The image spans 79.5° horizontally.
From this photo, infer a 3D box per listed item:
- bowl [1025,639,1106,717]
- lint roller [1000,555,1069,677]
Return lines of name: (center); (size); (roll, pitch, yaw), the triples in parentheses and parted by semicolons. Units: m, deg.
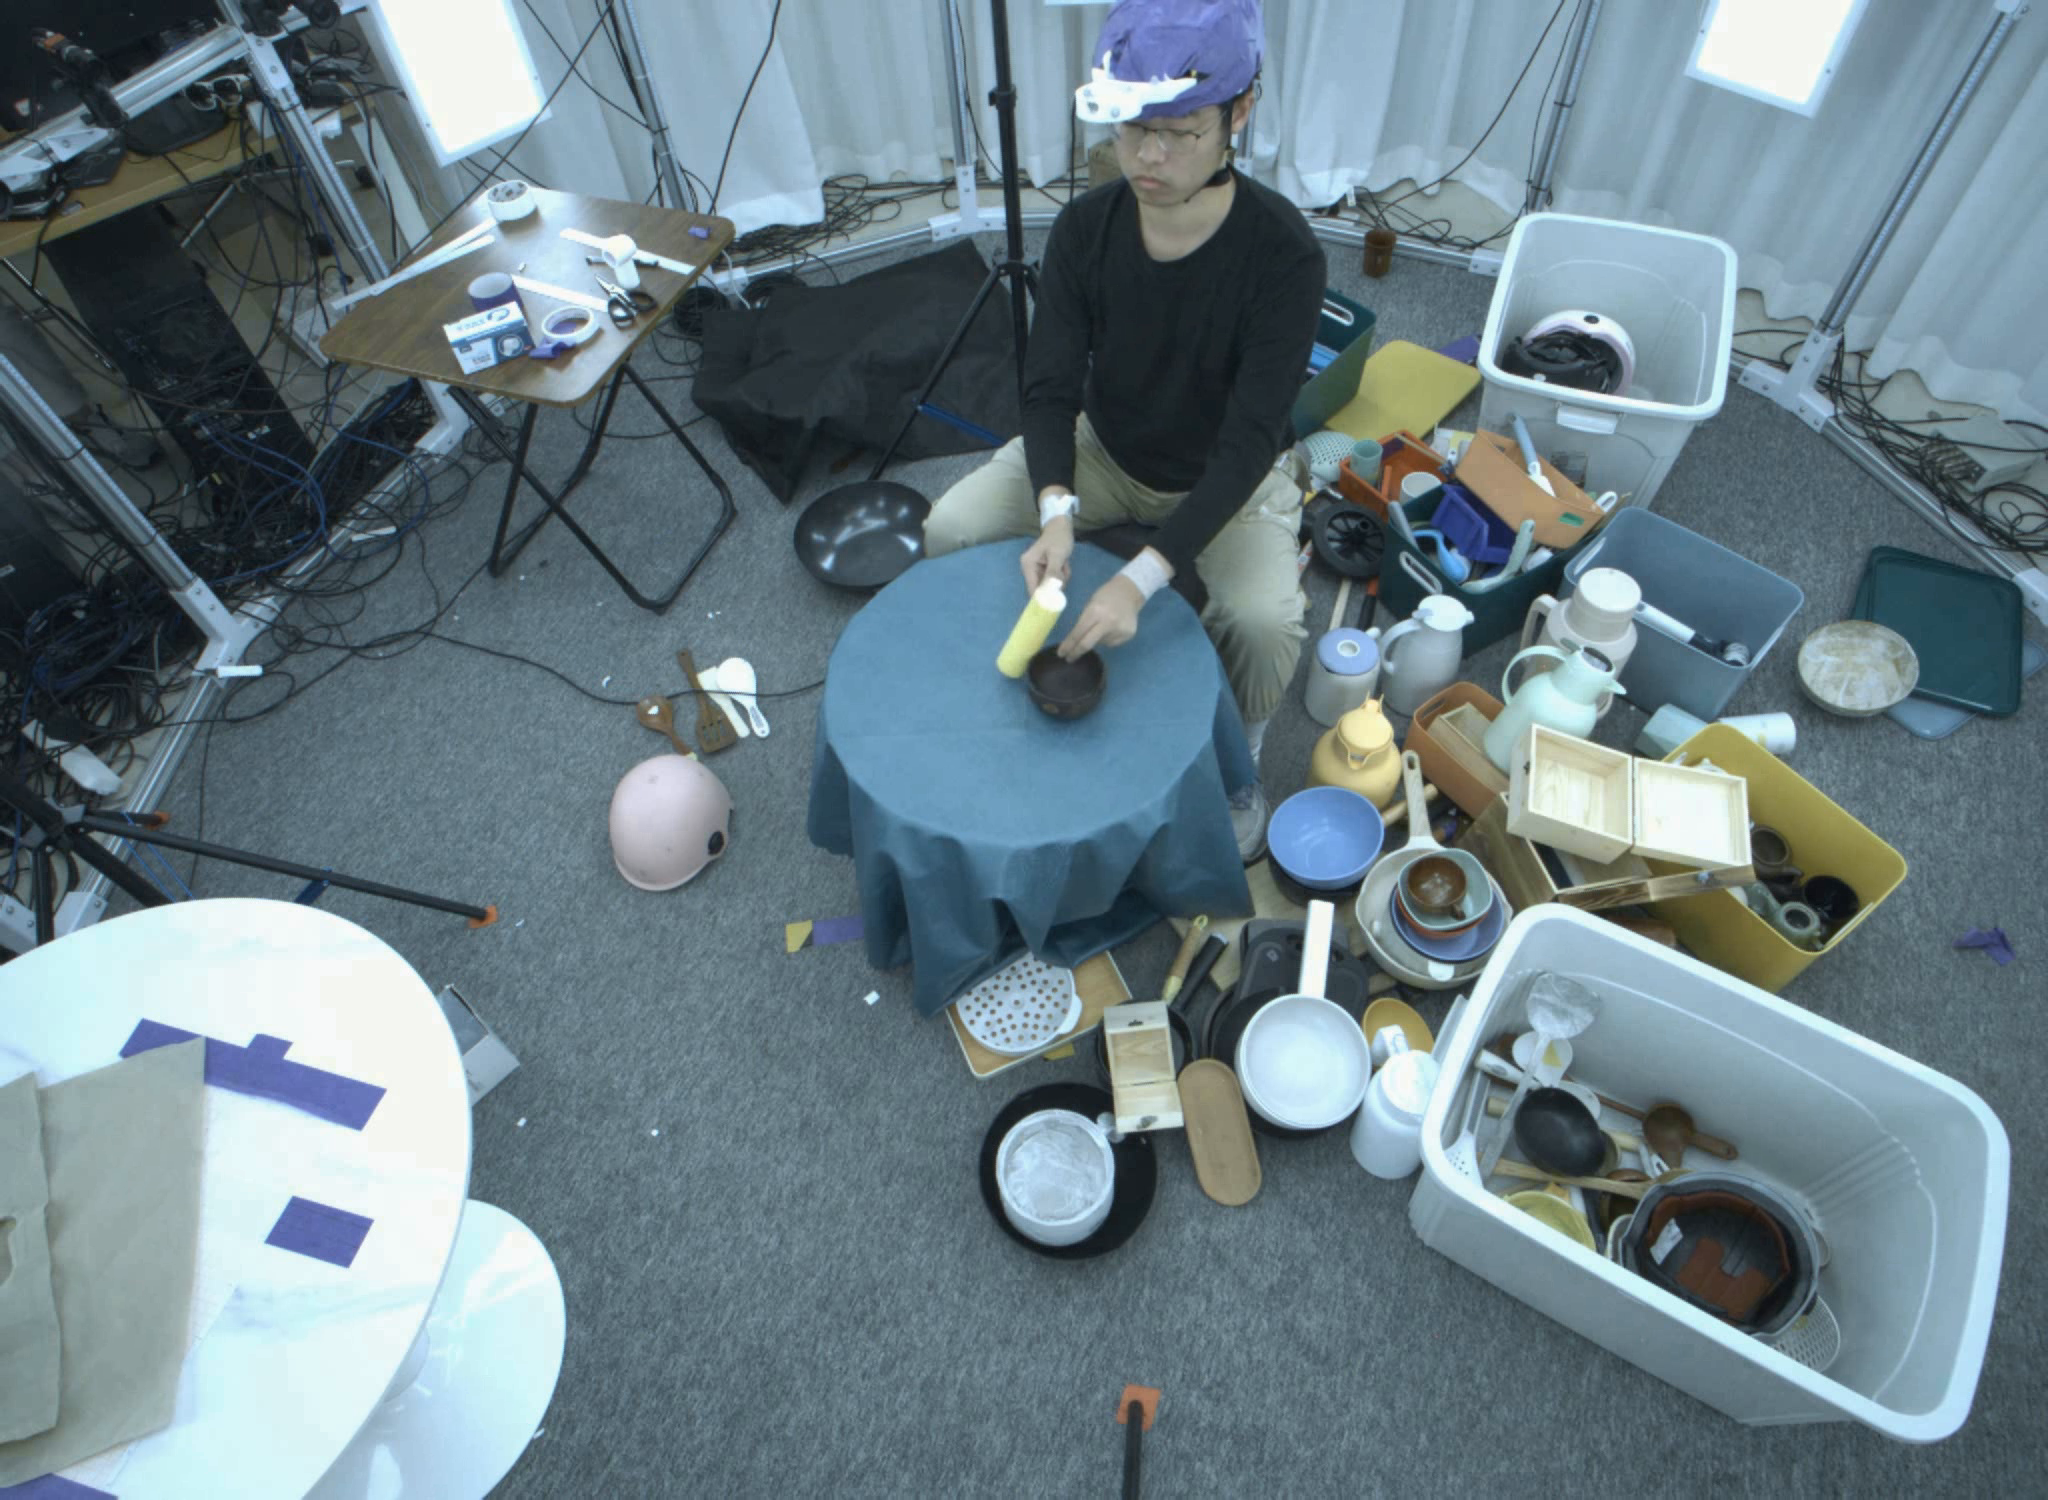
bowl: (0.061, -0.097, 1.809); (0.118, 0.070, 0.117); (0, 56, 1)
lint roller: (0.019, -0.228, 1.835); (0.052, 0.173, 0.190); (15, 51, -15)
